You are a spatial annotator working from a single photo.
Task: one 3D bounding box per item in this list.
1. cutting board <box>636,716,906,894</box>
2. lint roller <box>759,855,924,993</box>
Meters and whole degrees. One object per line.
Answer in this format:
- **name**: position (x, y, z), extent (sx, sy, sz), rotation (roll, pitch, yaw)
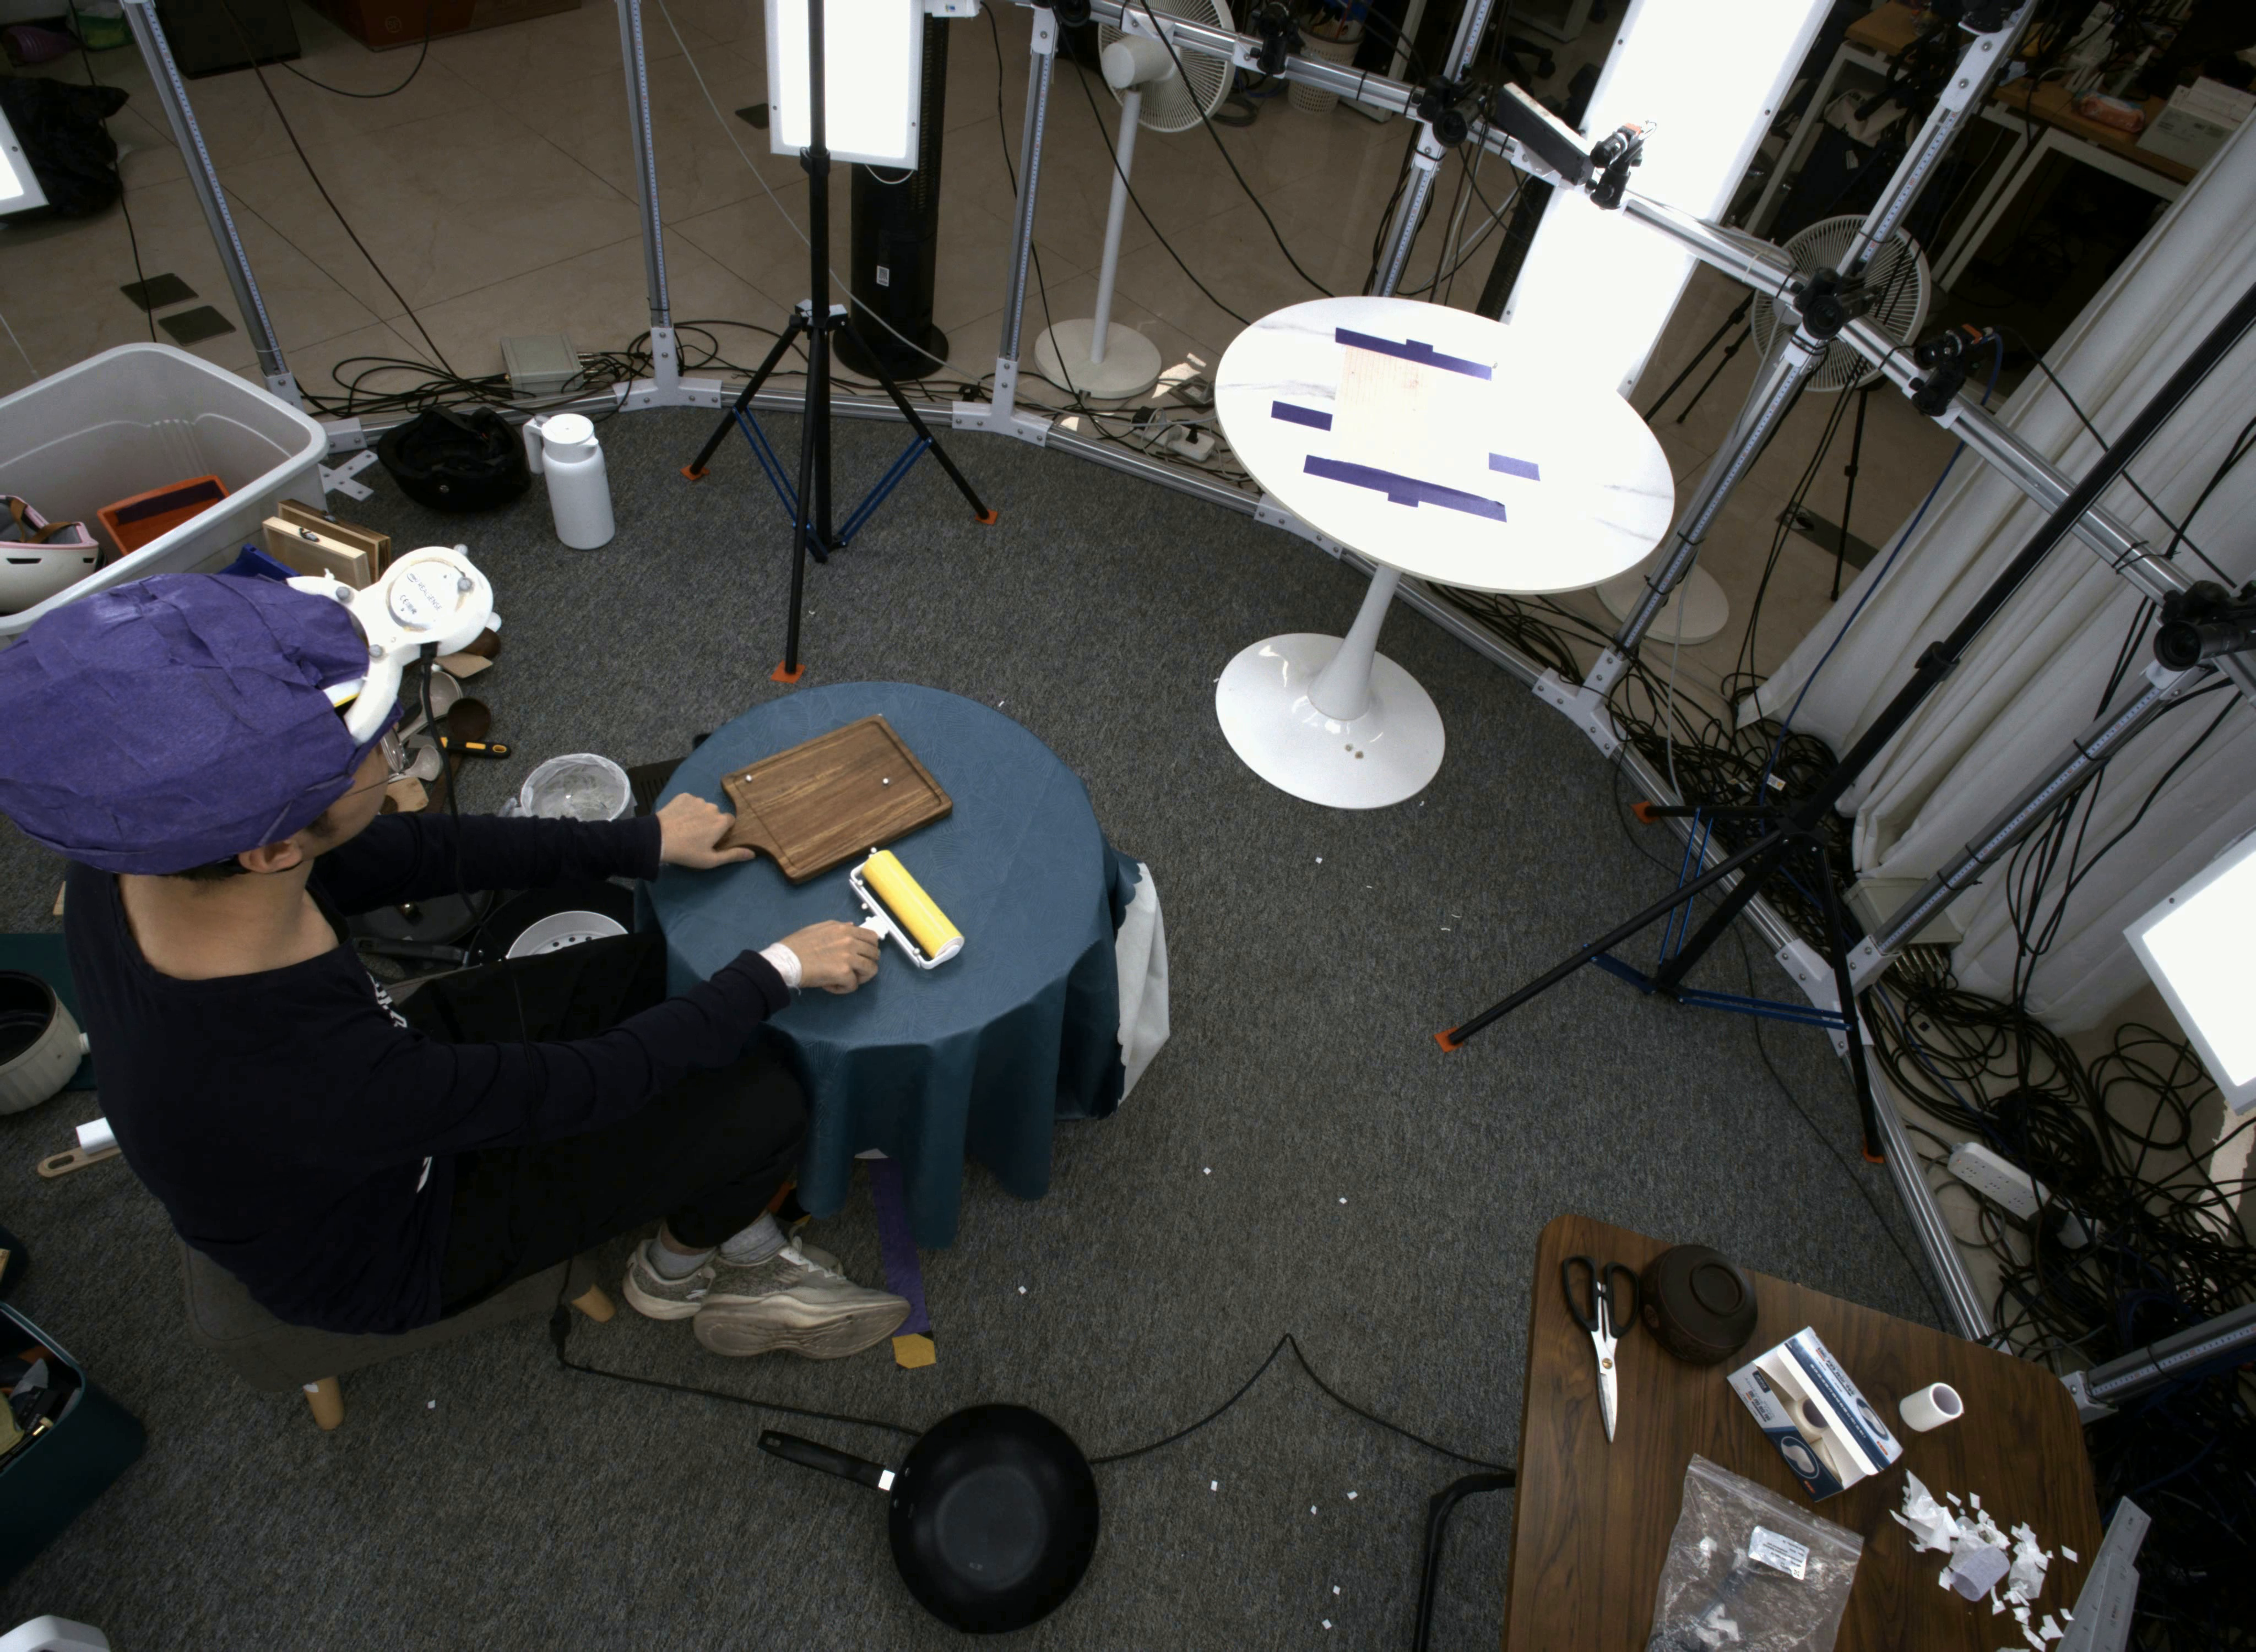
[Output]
- **cutting board**: position (-0.490, -0.015, 1.710), extent (0.353, 0.023, 0.196), rotation (-31, 66, -32)
- **lint roller**: position (-0.377, 0.138, 1.613), extent (0.170, 0.052, 0.192), rotation (42, 52, 19)
